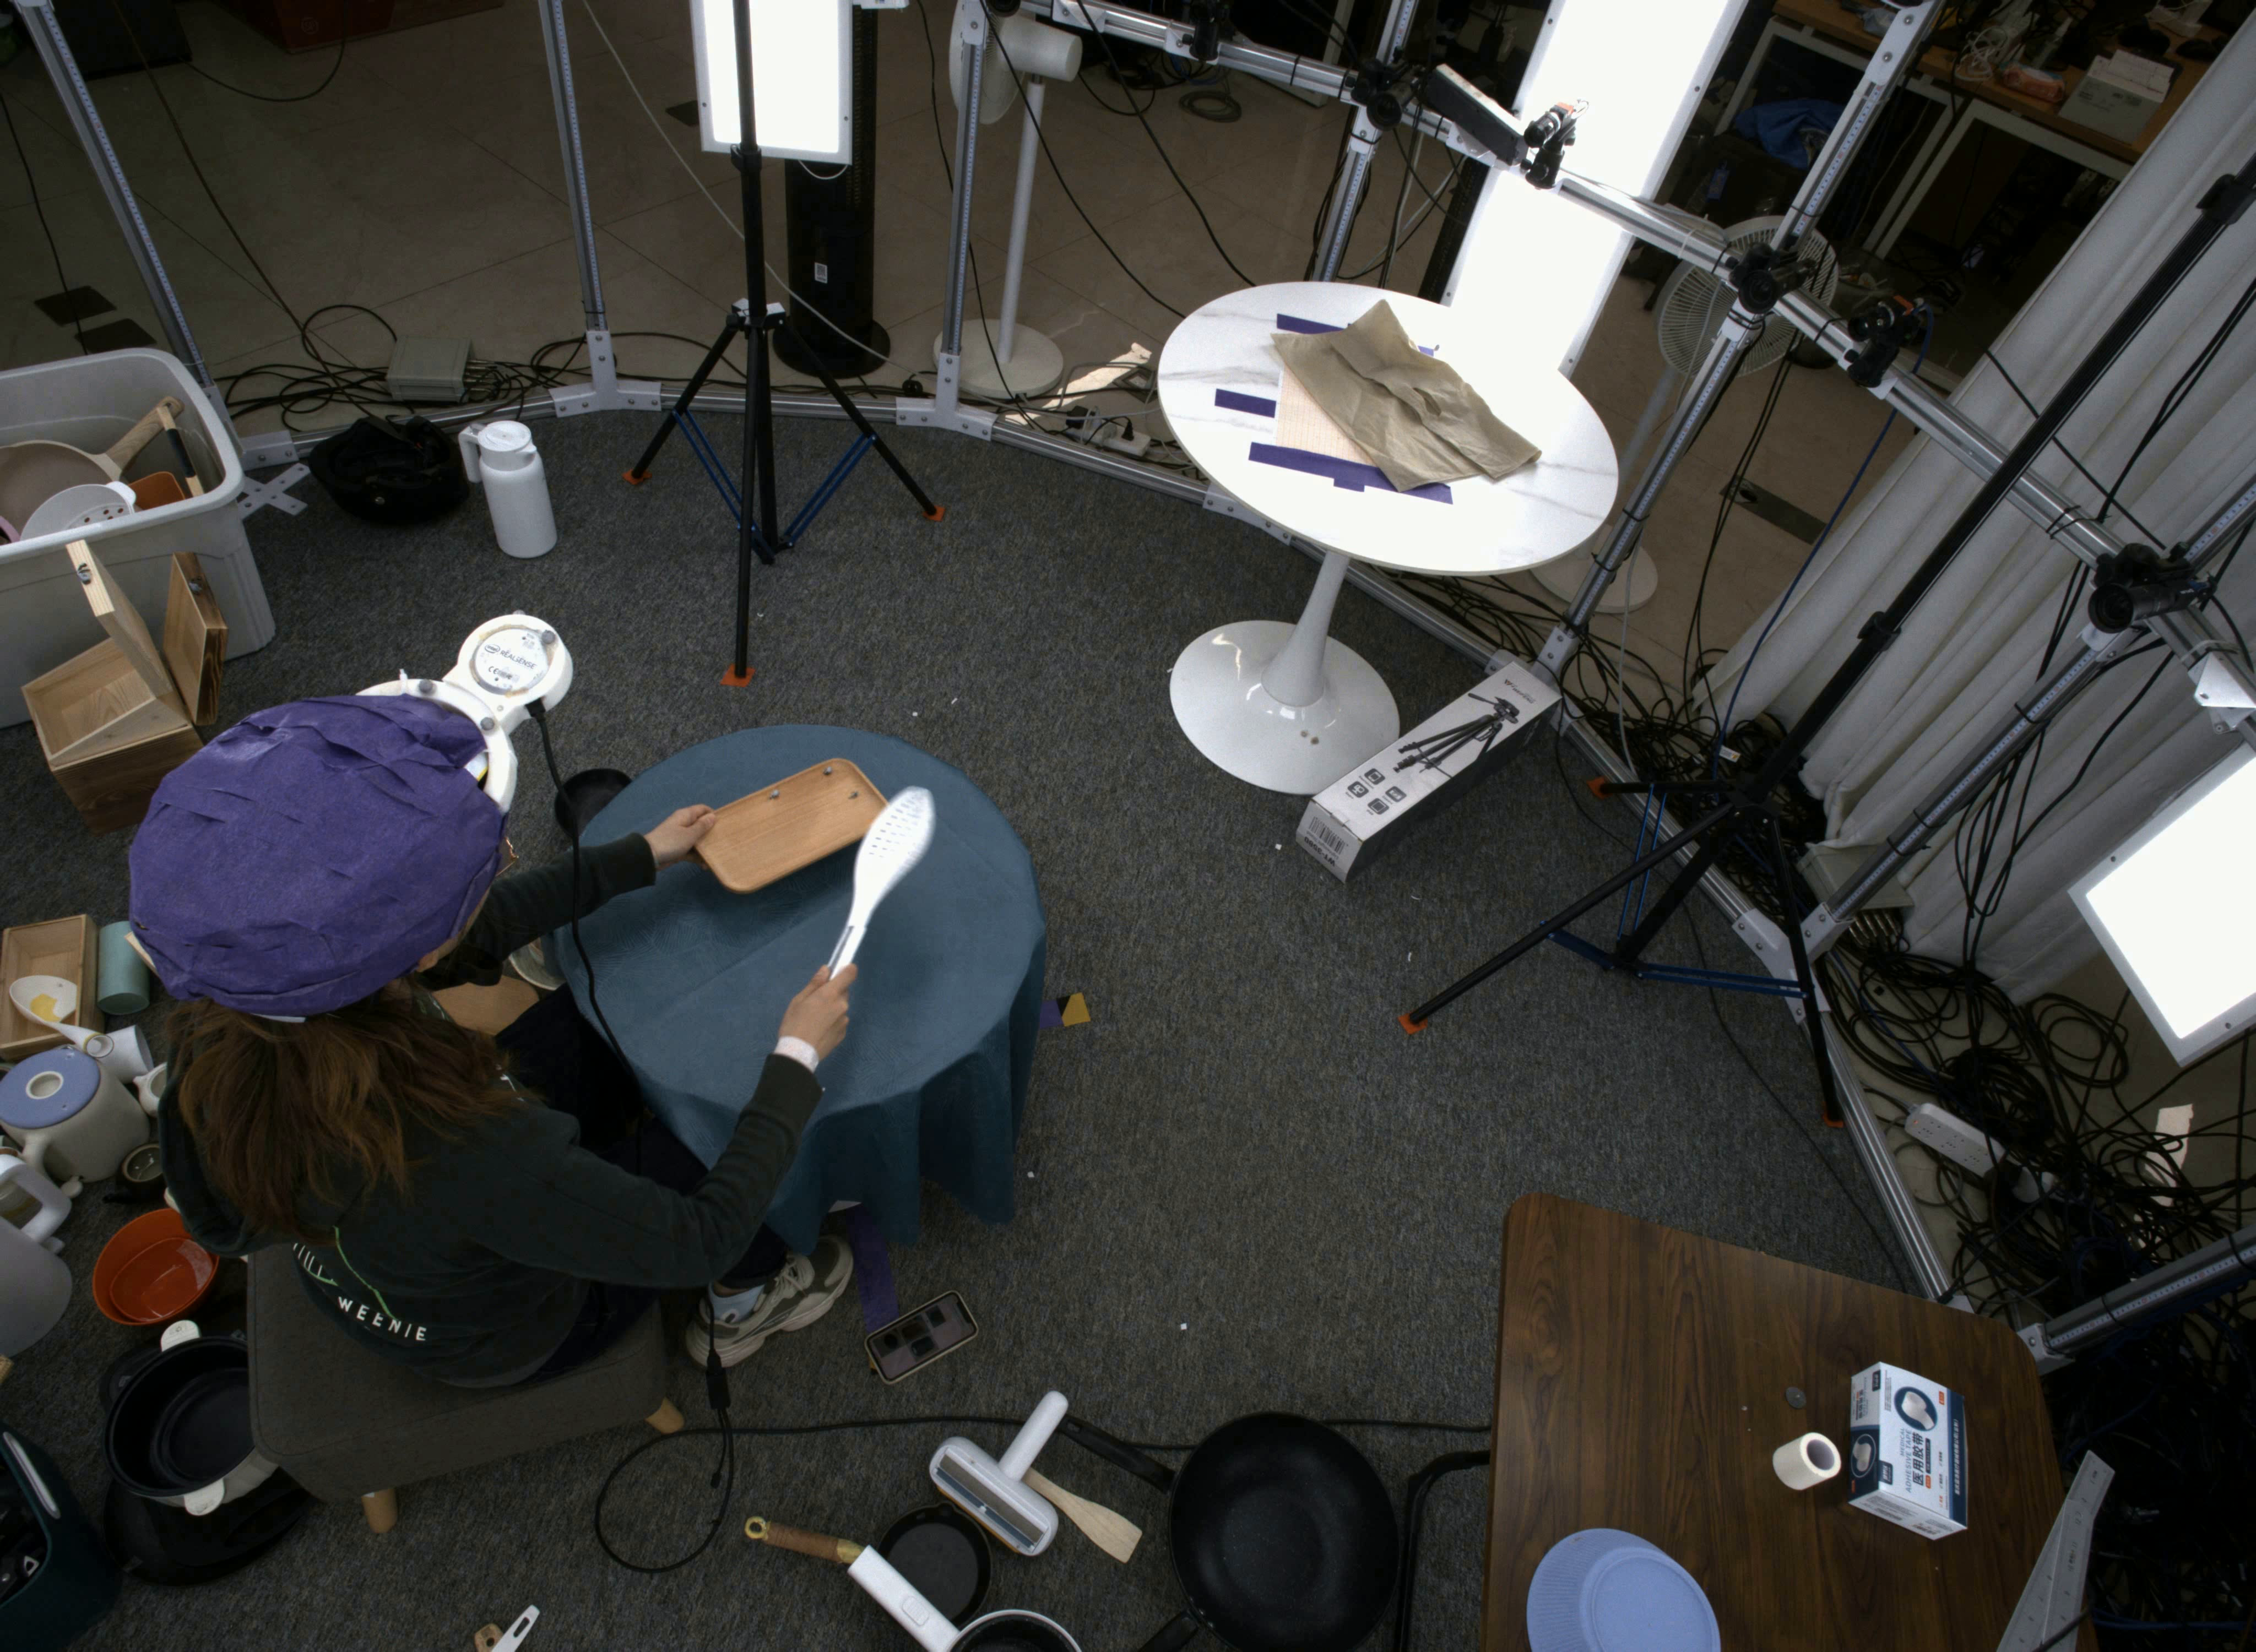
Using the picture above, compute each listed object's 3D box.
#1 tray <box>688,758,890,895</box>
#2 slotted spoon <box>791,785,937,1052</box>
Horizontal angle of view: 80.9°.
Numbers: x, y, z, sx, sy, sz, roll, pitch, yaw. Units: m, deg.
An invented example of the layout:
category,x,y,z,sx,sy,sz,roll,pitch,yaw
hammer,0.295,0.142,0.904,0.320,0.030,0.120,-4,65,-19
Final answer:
category,x,y,z,sx,sy,sz,roll,pitch,yaw
tray,-0.431,-0.003,1.661,0.252,0.023,0.128,-31,67,-38
slotted spoon,-0.311,0.102,1.530,0.047,0.132,0.348,42,58,-28
